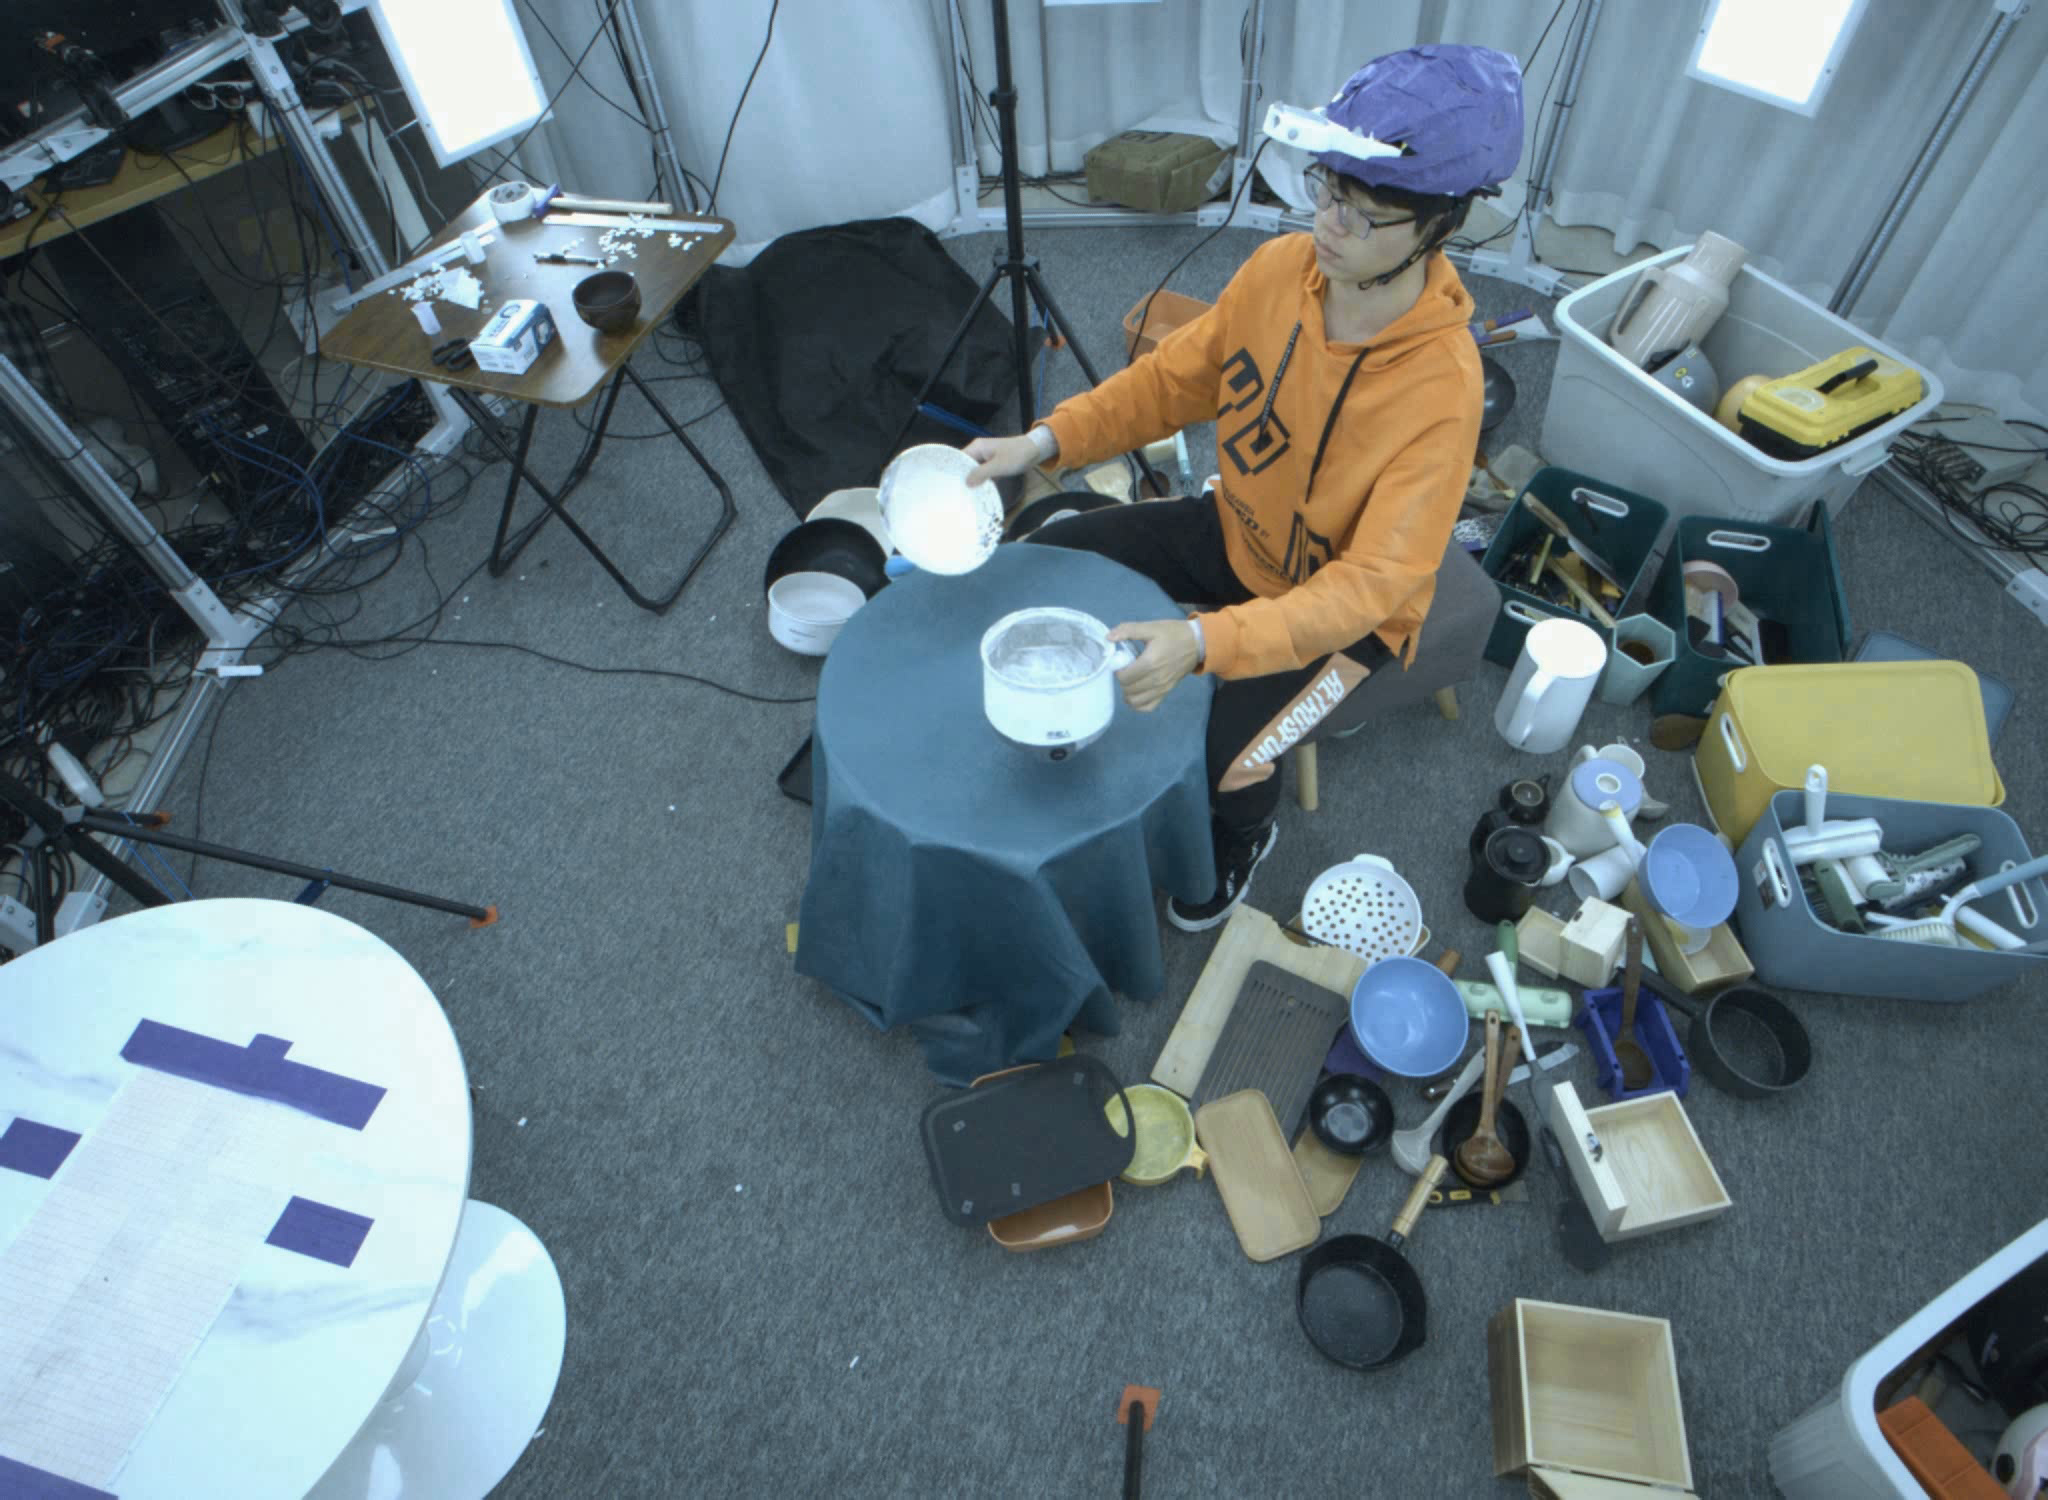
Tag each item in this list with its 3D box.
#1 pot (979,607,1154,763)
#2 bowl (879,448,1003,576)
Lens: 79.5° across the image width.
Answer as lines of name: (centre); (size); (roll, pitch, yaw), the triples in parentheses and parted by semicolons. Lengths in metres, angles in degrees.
pot: (0.059, -0.092, 1.656); (0.235, 0.138, 0.176); (-7, 44, -6)
bowl: (-0.140, -0.353, 1.852); (0.208, 0.076, 0.203); (5, 80, -29)
